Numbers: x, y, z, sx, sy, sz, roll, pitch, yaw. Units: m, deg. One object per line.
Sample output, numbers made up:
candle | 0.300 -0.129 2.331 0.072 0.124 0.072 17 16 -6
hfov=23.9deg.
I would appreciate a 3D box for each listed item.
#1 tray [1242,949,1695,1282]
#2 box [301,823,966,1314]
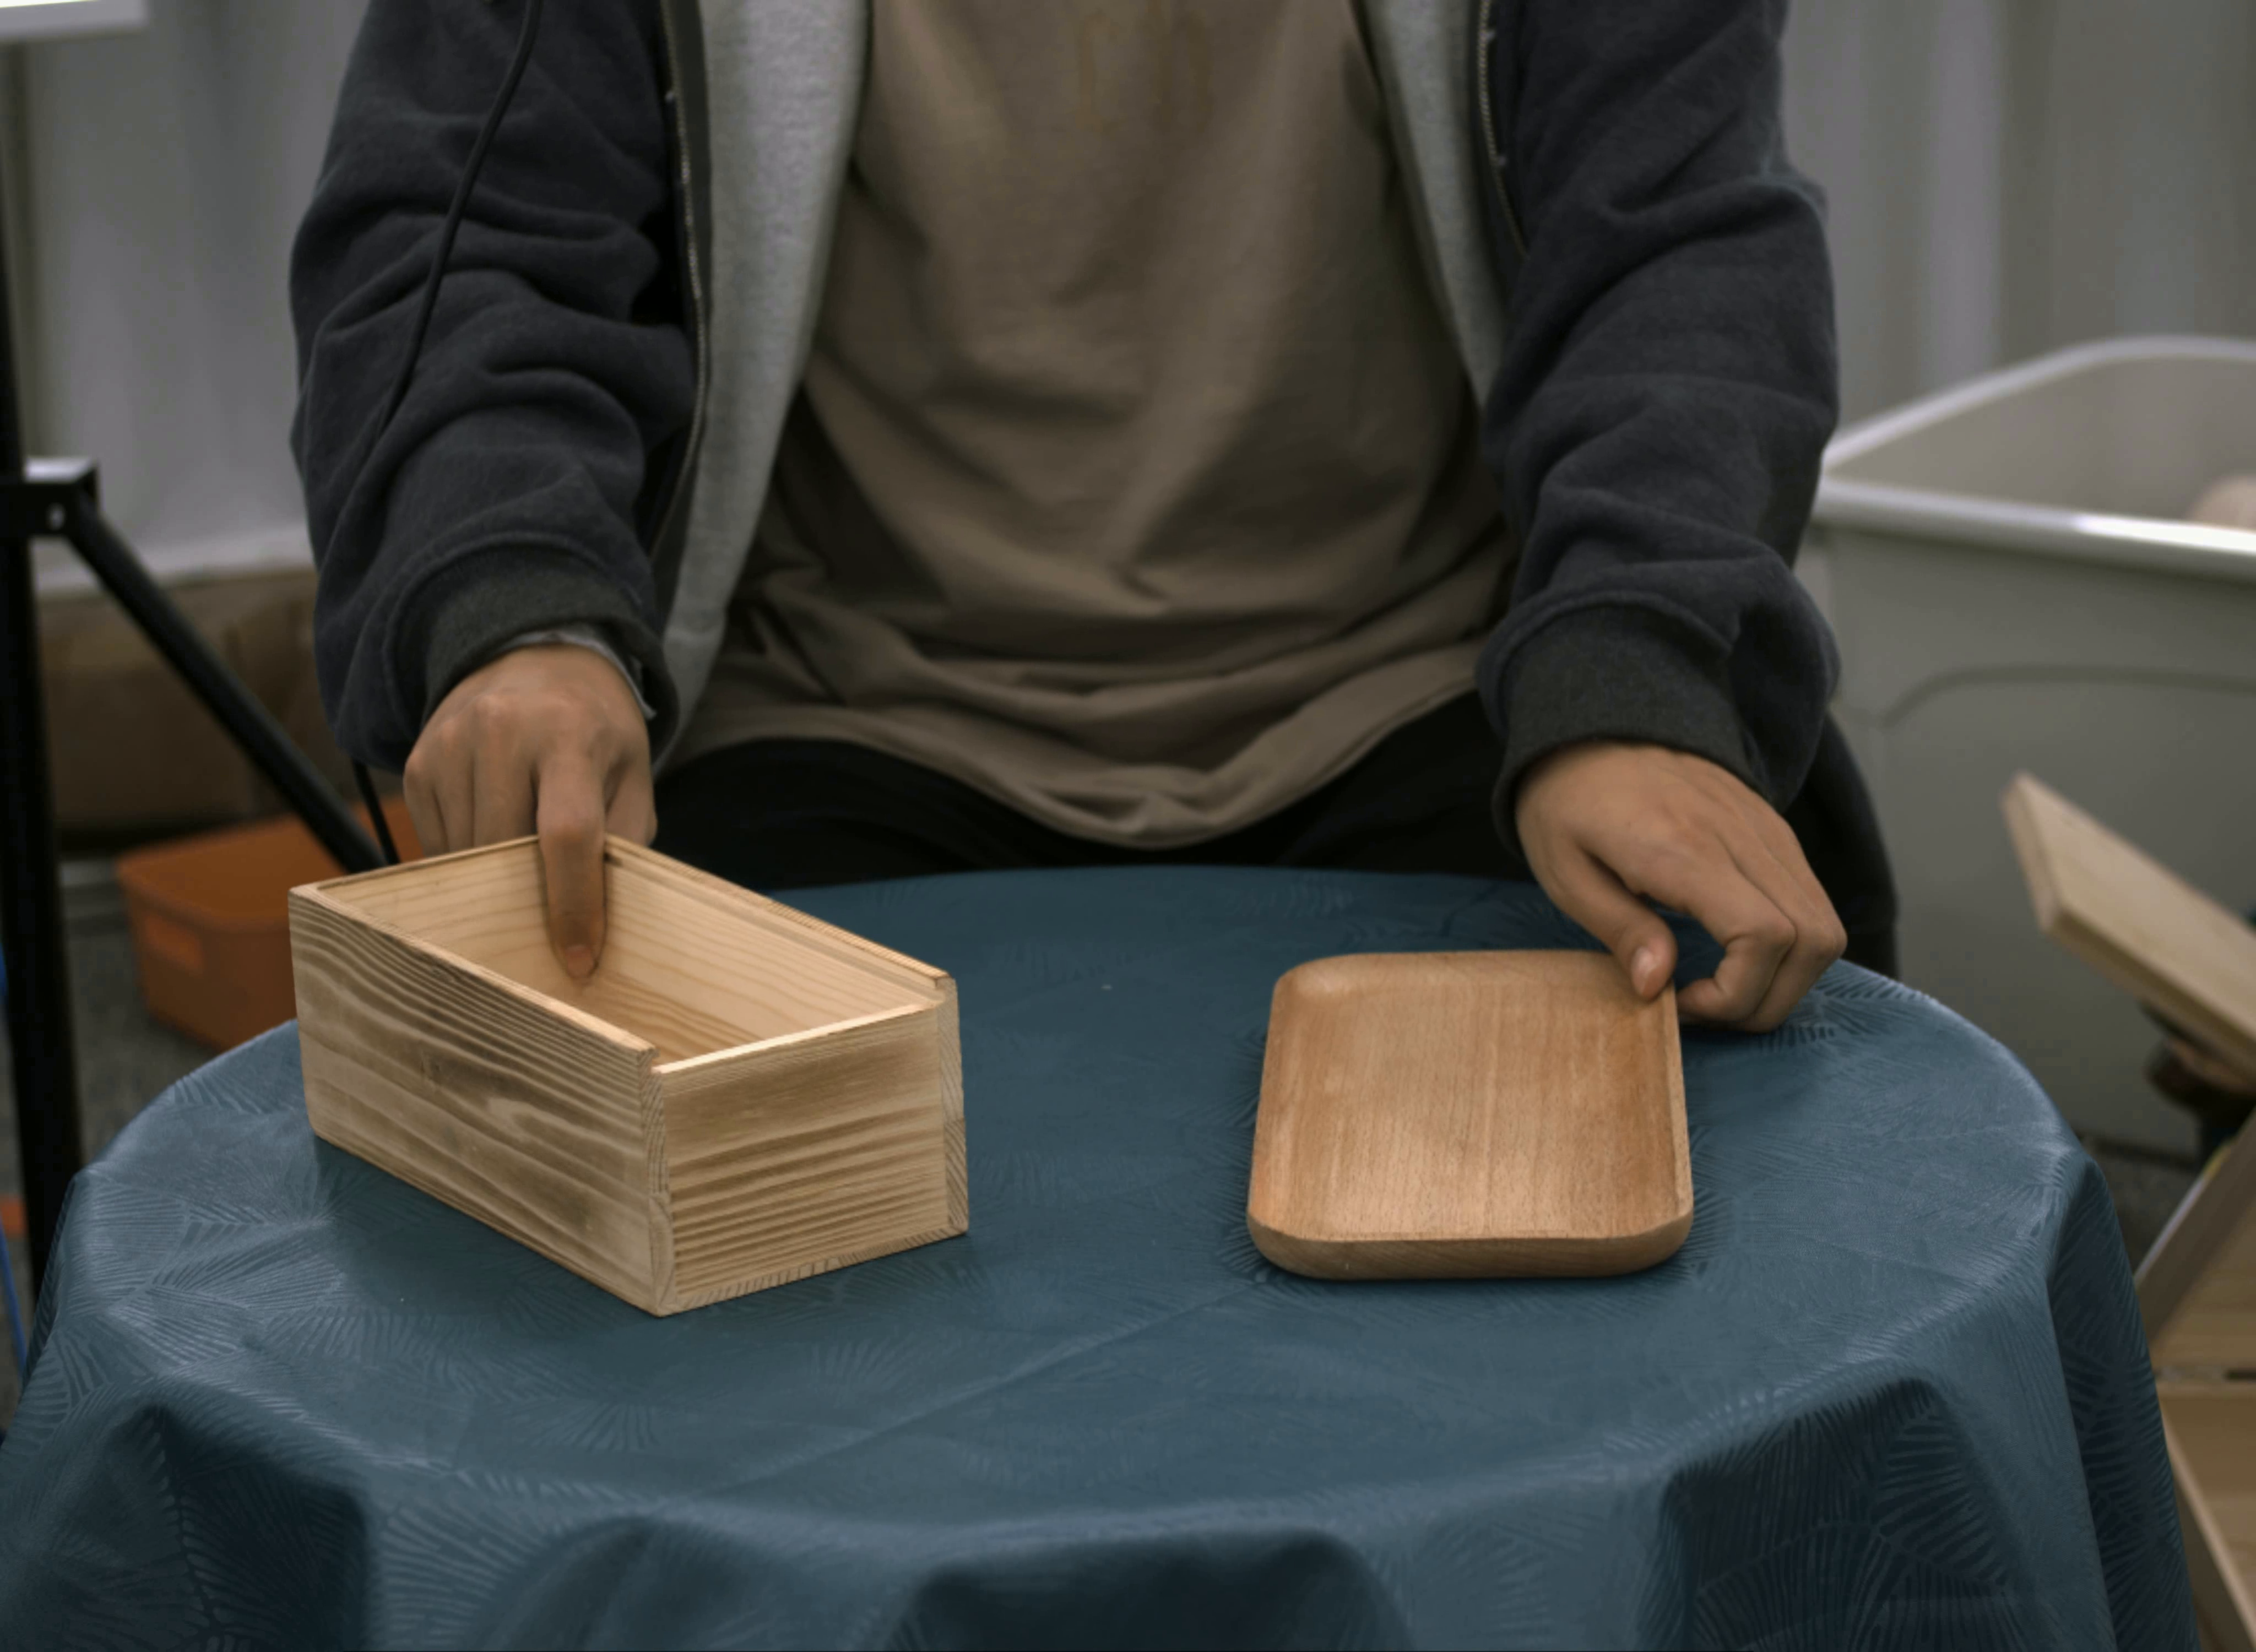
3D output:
tray | 0.102 0.084 1.587 0.130 0.023 0.251 1 17 4
box | -0.149 0.068 1.582 0.105 0.080 0.216 -13 18 -32
